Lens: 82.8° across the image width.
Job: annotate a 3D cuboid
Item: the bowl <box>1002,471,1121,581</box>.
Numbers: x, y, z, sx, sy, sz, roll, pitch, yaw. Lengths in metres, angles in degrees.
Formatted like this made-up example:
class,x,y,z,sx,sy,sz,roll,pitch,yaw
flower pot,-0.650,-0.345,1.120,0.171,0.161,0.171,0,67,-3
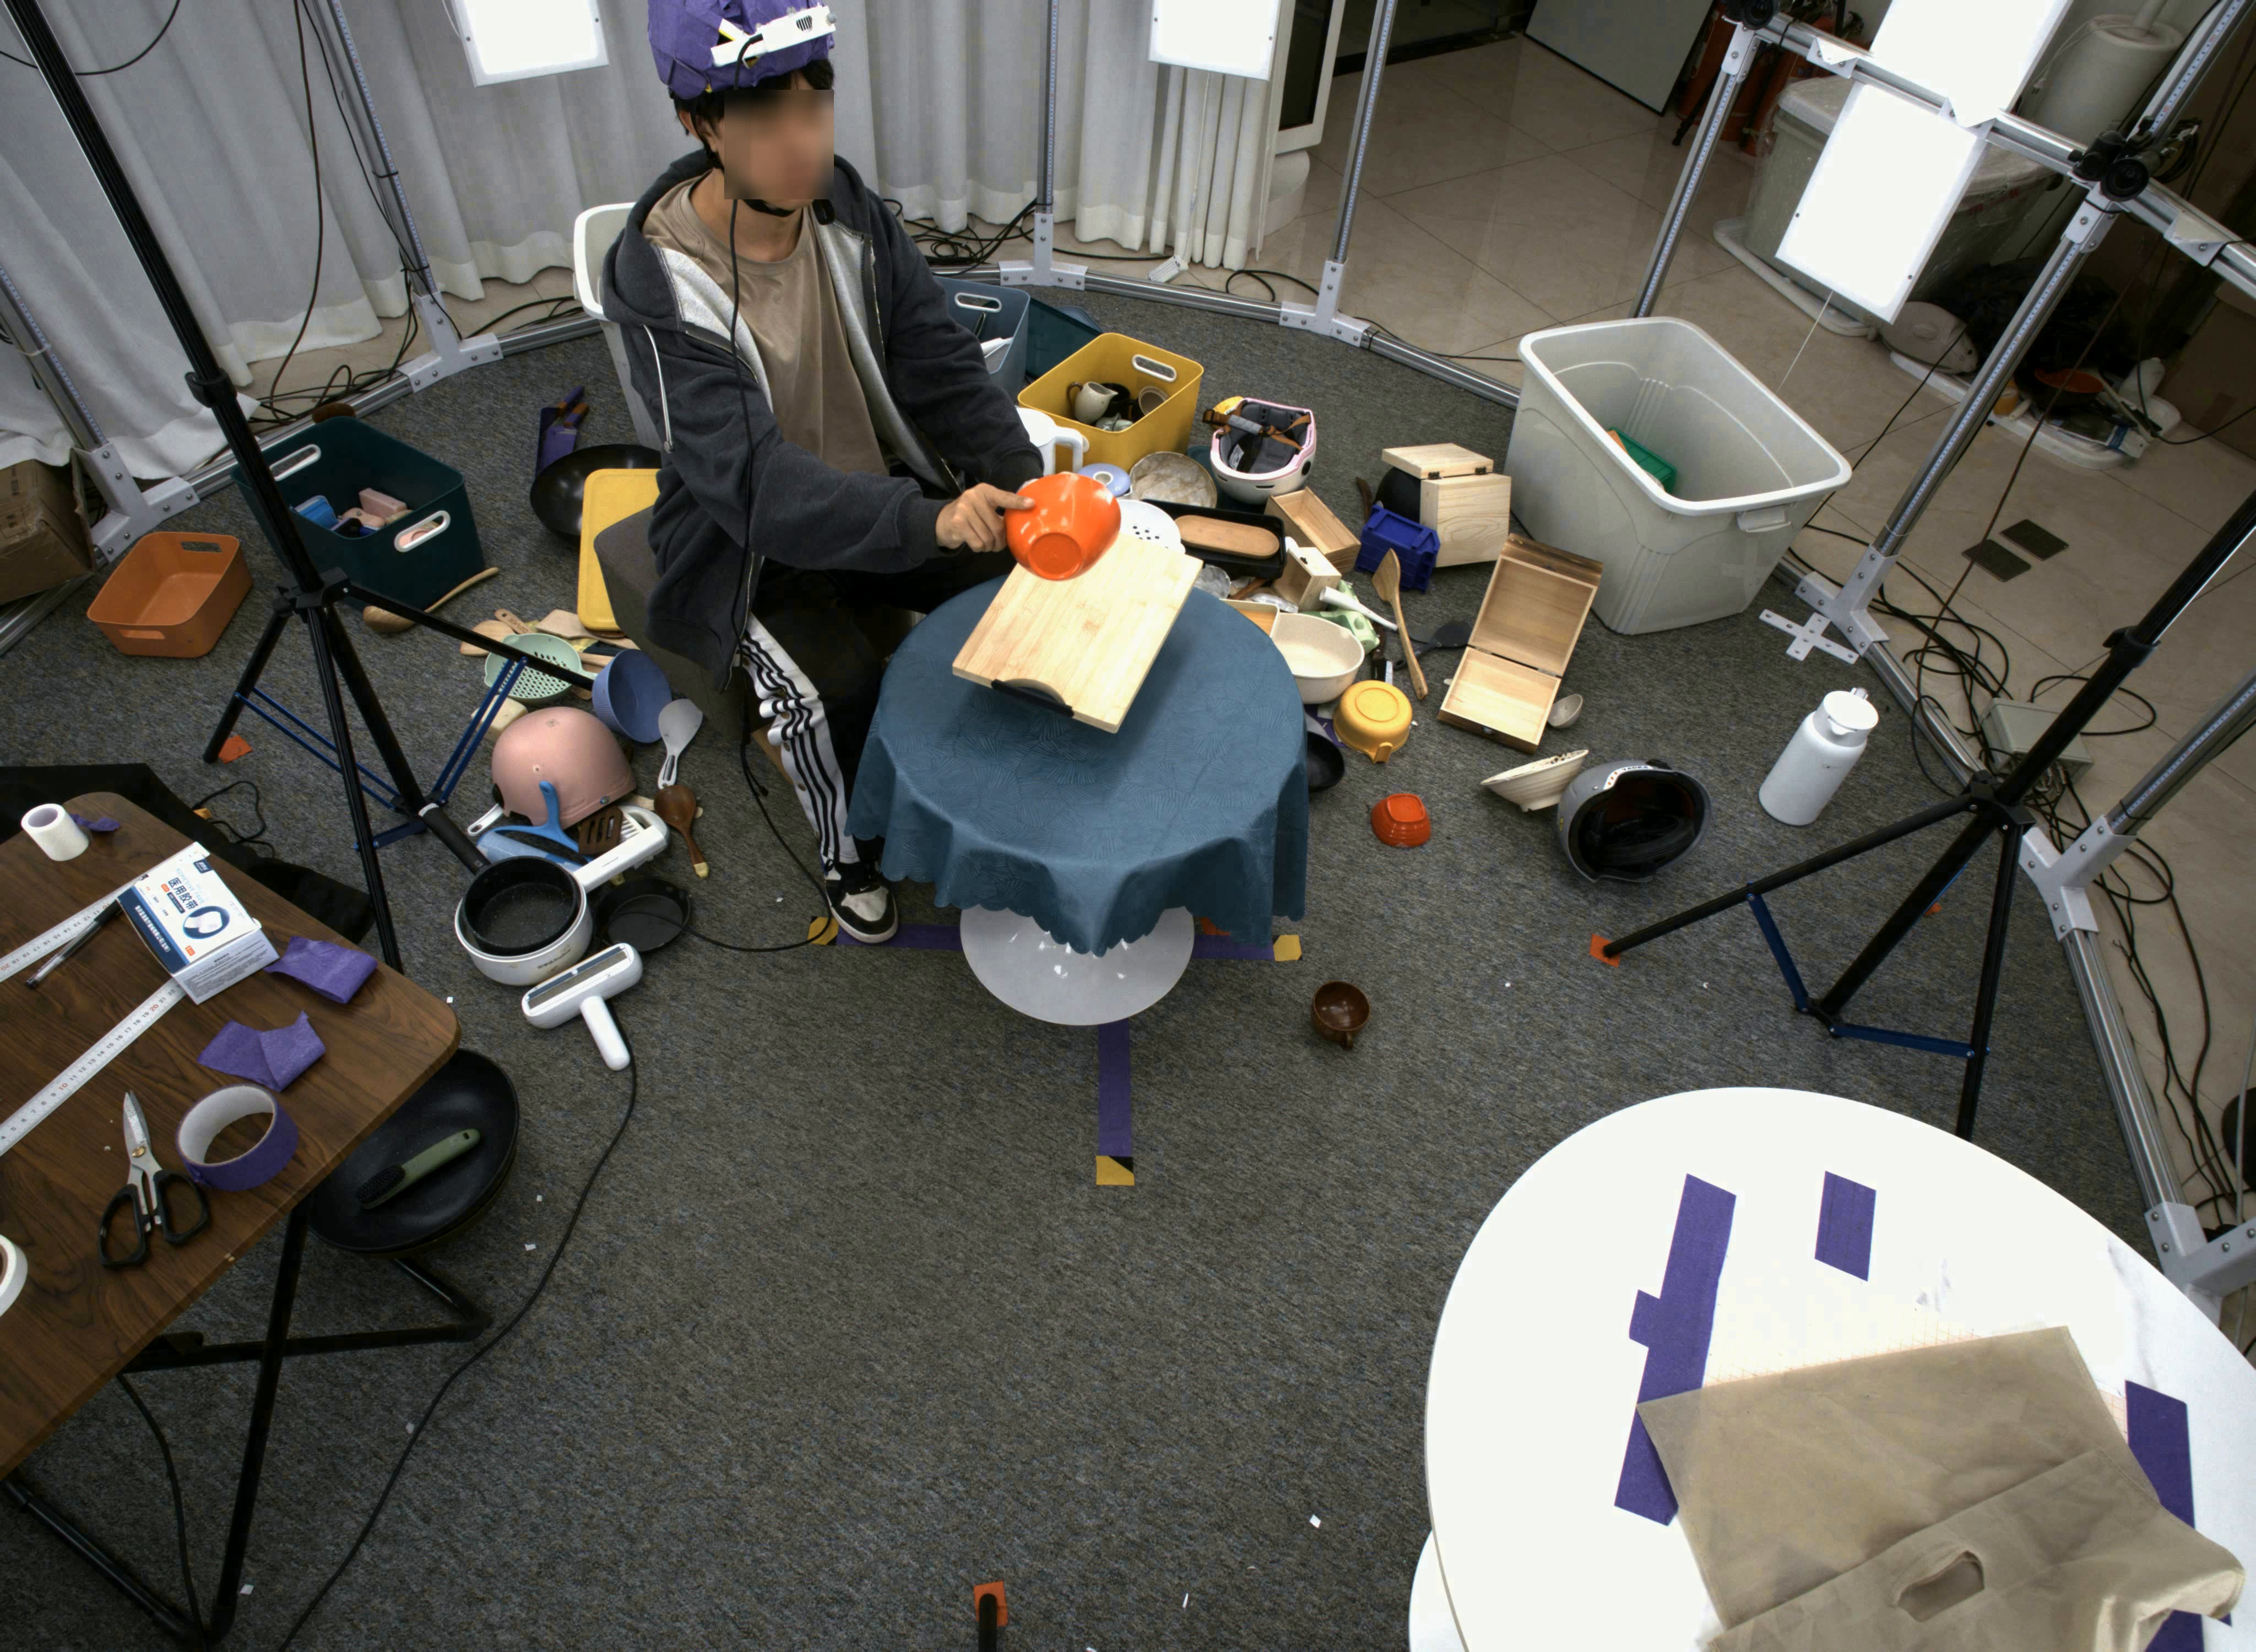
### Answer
class,x,y,z,sx,sy,sz,roll,pitch,yaw
bowl,-0.081,-0.348,1.565,0.148,0.144,0.107,3,41,-2

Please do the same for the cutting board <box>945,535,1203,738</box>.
class,x,y,z,sx,sy,sz,roll,pitch,yaw
cutting board,-0.066,-0.290,1.792,0.251,0.023,0.355,19,54,9
